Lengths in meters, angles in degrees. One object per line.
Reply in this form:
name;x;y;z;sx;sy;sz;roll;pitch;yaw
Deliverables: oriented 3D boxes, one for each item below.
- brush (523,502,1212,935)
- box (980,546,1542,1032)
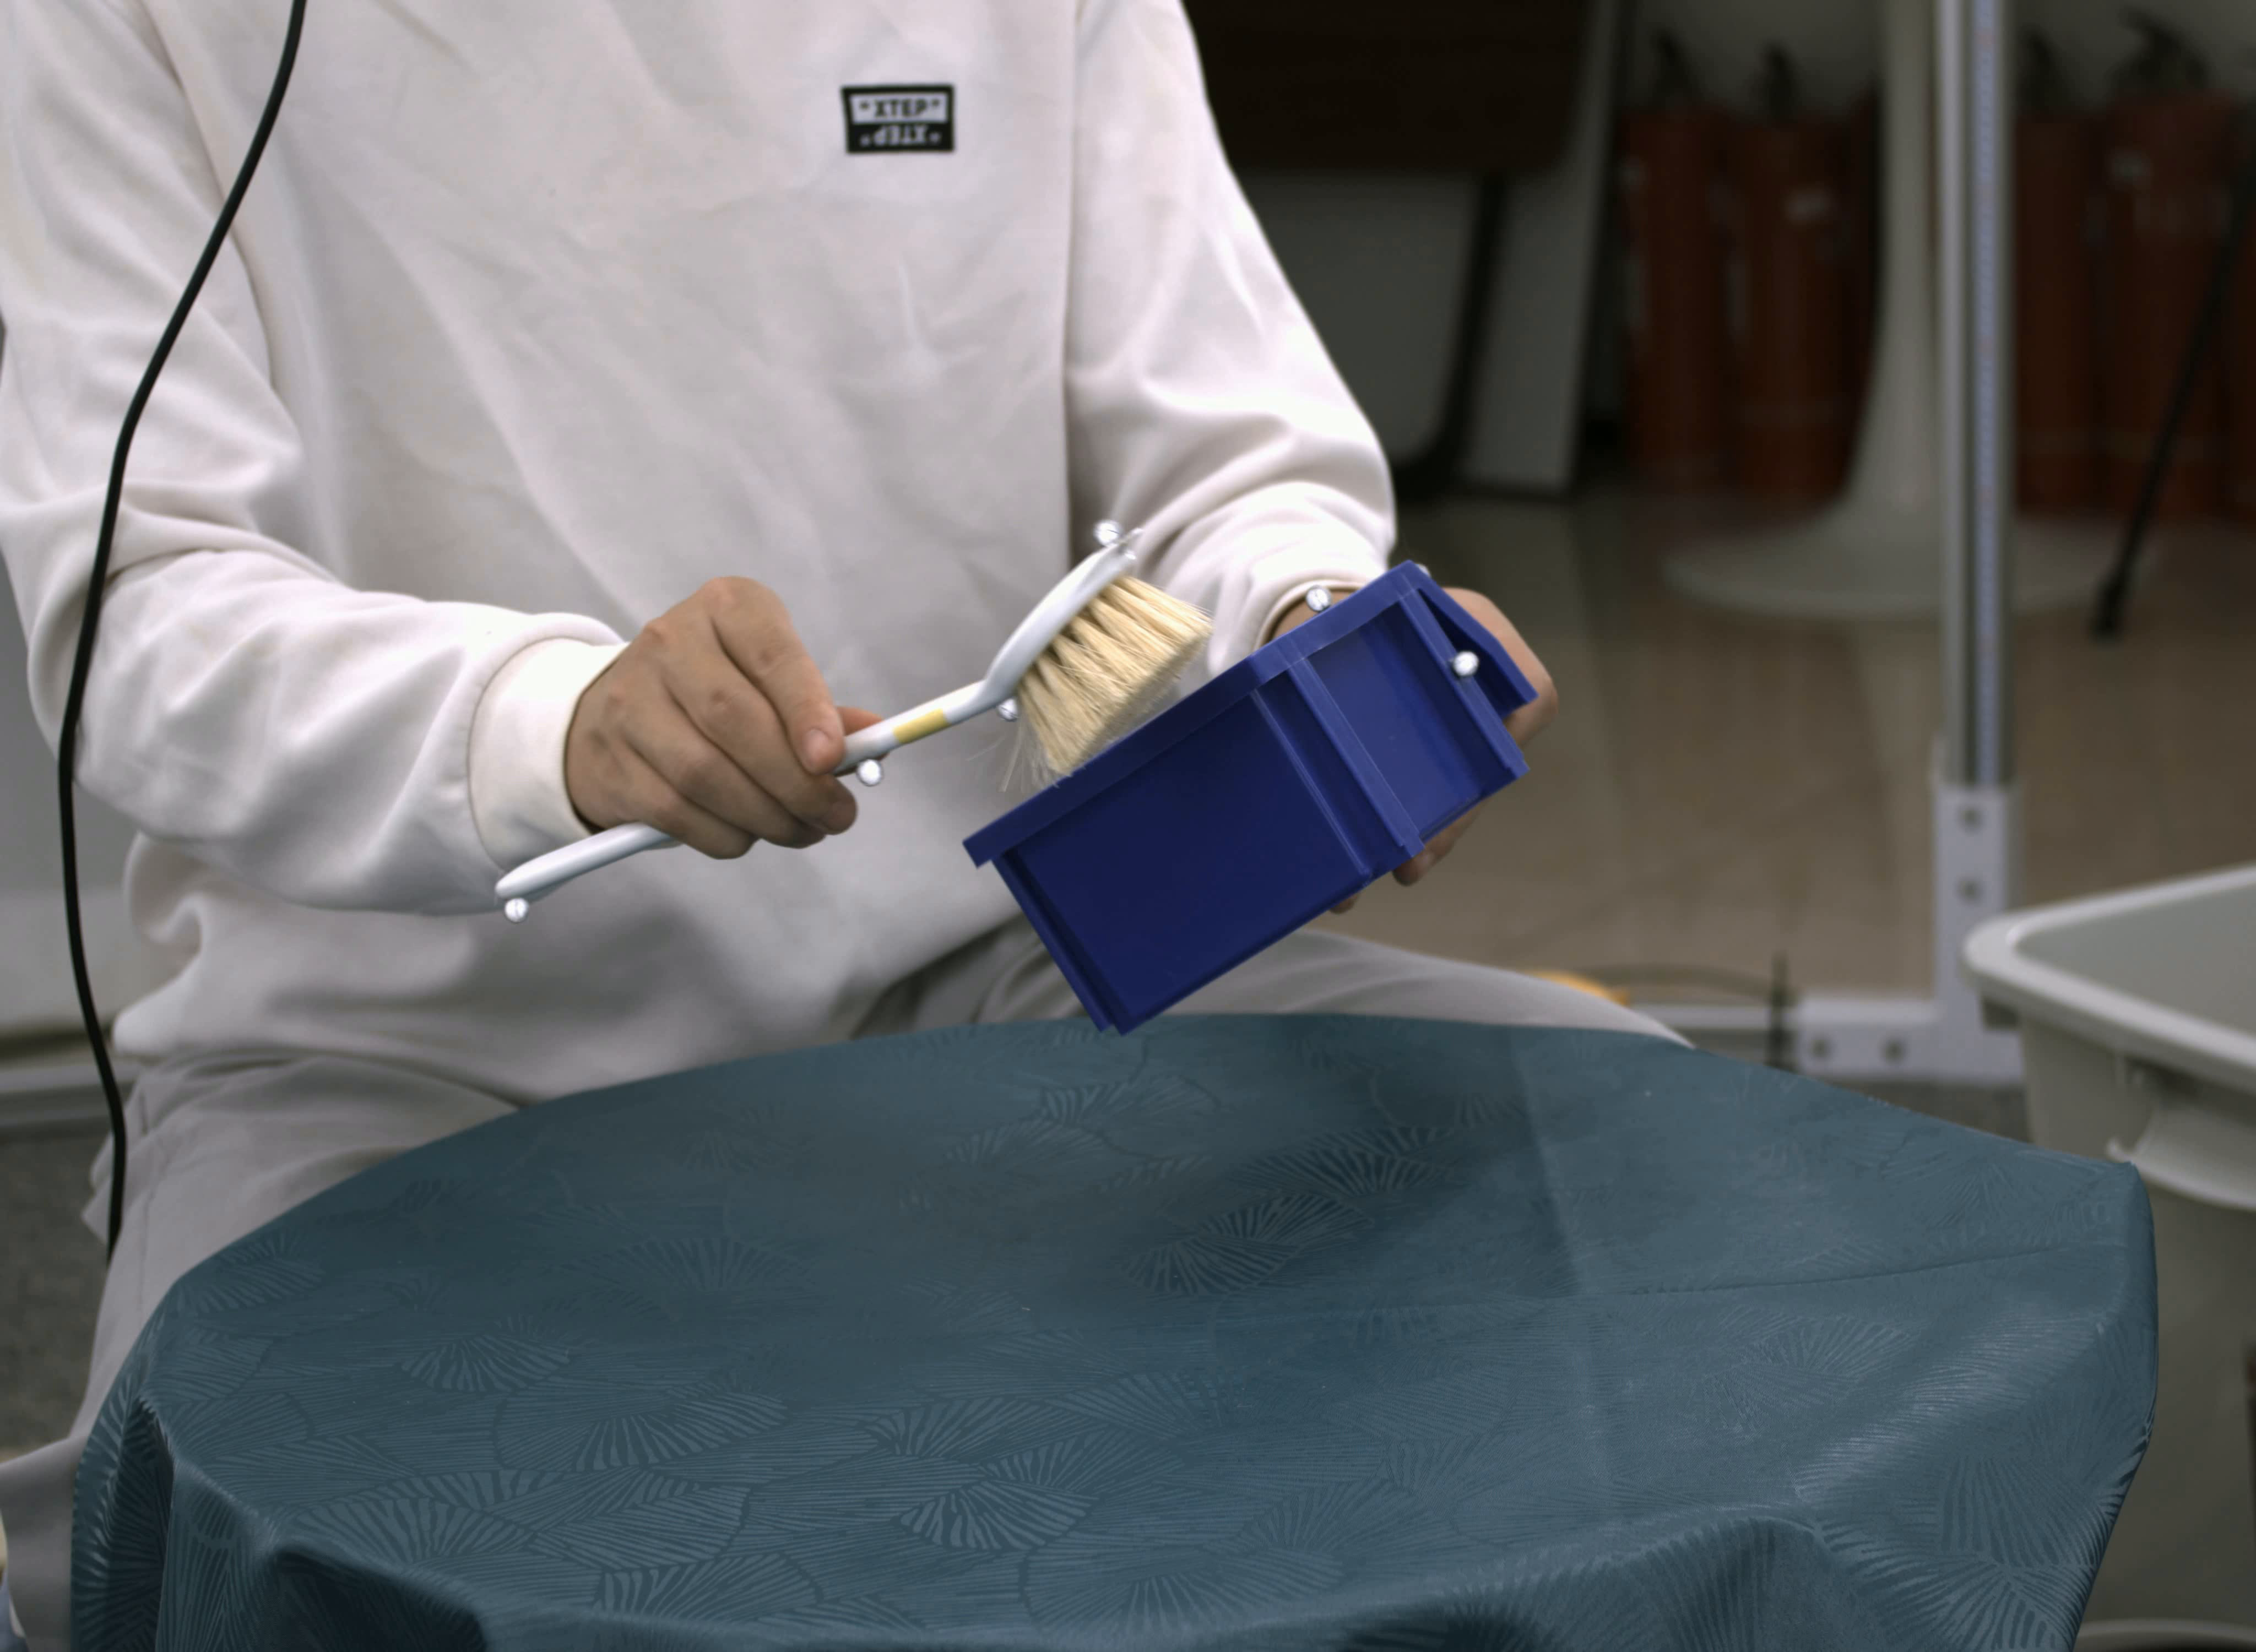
brush;-0.082;-0.012;1.673;0.268;0.057;0.067;-34;-13;28
box;0.049;-0.014;1.747;0.125;0.082;0.177;-34;1;27
